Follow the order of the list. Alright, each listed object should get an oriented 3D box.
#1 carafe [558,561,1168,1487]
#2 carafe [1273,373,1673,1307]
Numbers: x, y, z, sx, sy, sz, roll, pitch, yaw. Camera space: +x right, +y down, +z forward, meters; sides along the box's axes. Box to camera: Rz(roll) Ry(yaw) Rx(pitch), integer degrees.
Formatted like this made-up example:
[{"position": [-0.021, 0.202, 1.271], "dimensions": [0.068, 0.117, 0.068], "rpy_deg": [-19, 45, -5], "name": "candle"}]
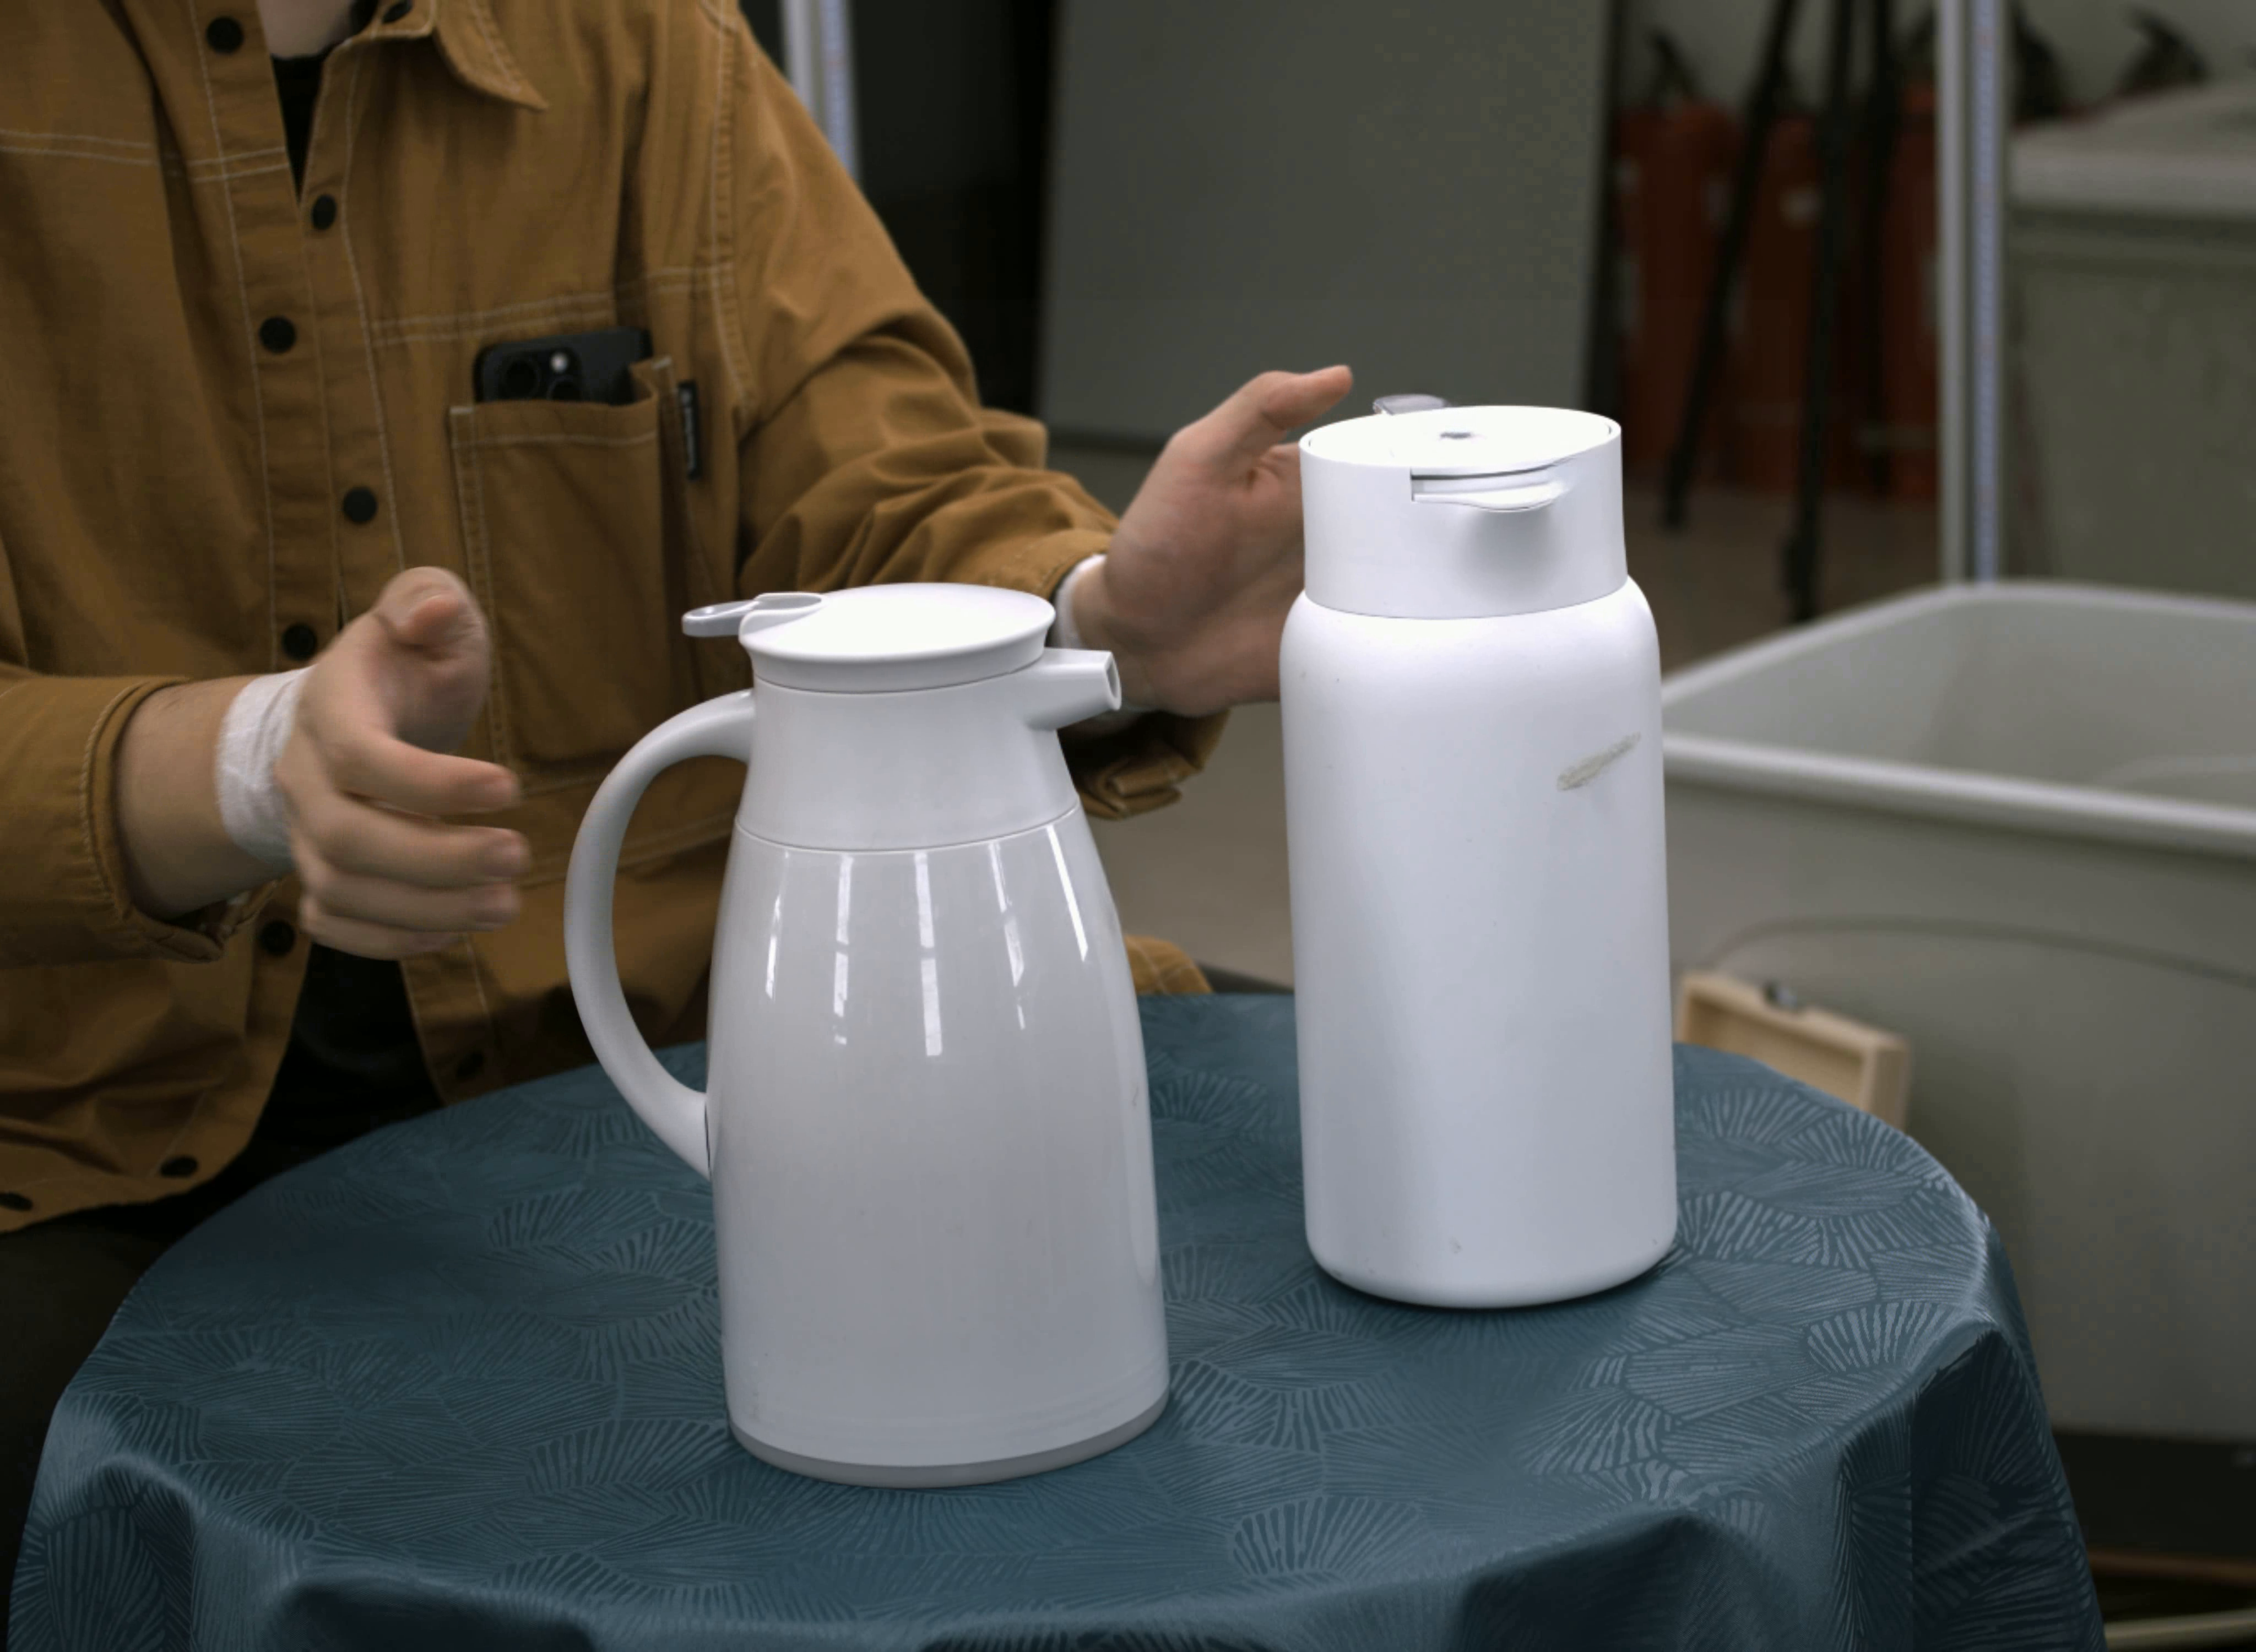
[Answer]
[{"position": [-0.080, 0.051, 1.559], "dimensions": [0.166, 0.251, 0.132], "rpy_deg": [-3, 13, 9], "name": "carafe"}, {"position": [0.100, 0.001, 1.669], "dimensions": [0.121, 0.272, 0.174], "rpy_deg": [-8, 14, -11], "name": "carafe"}]
